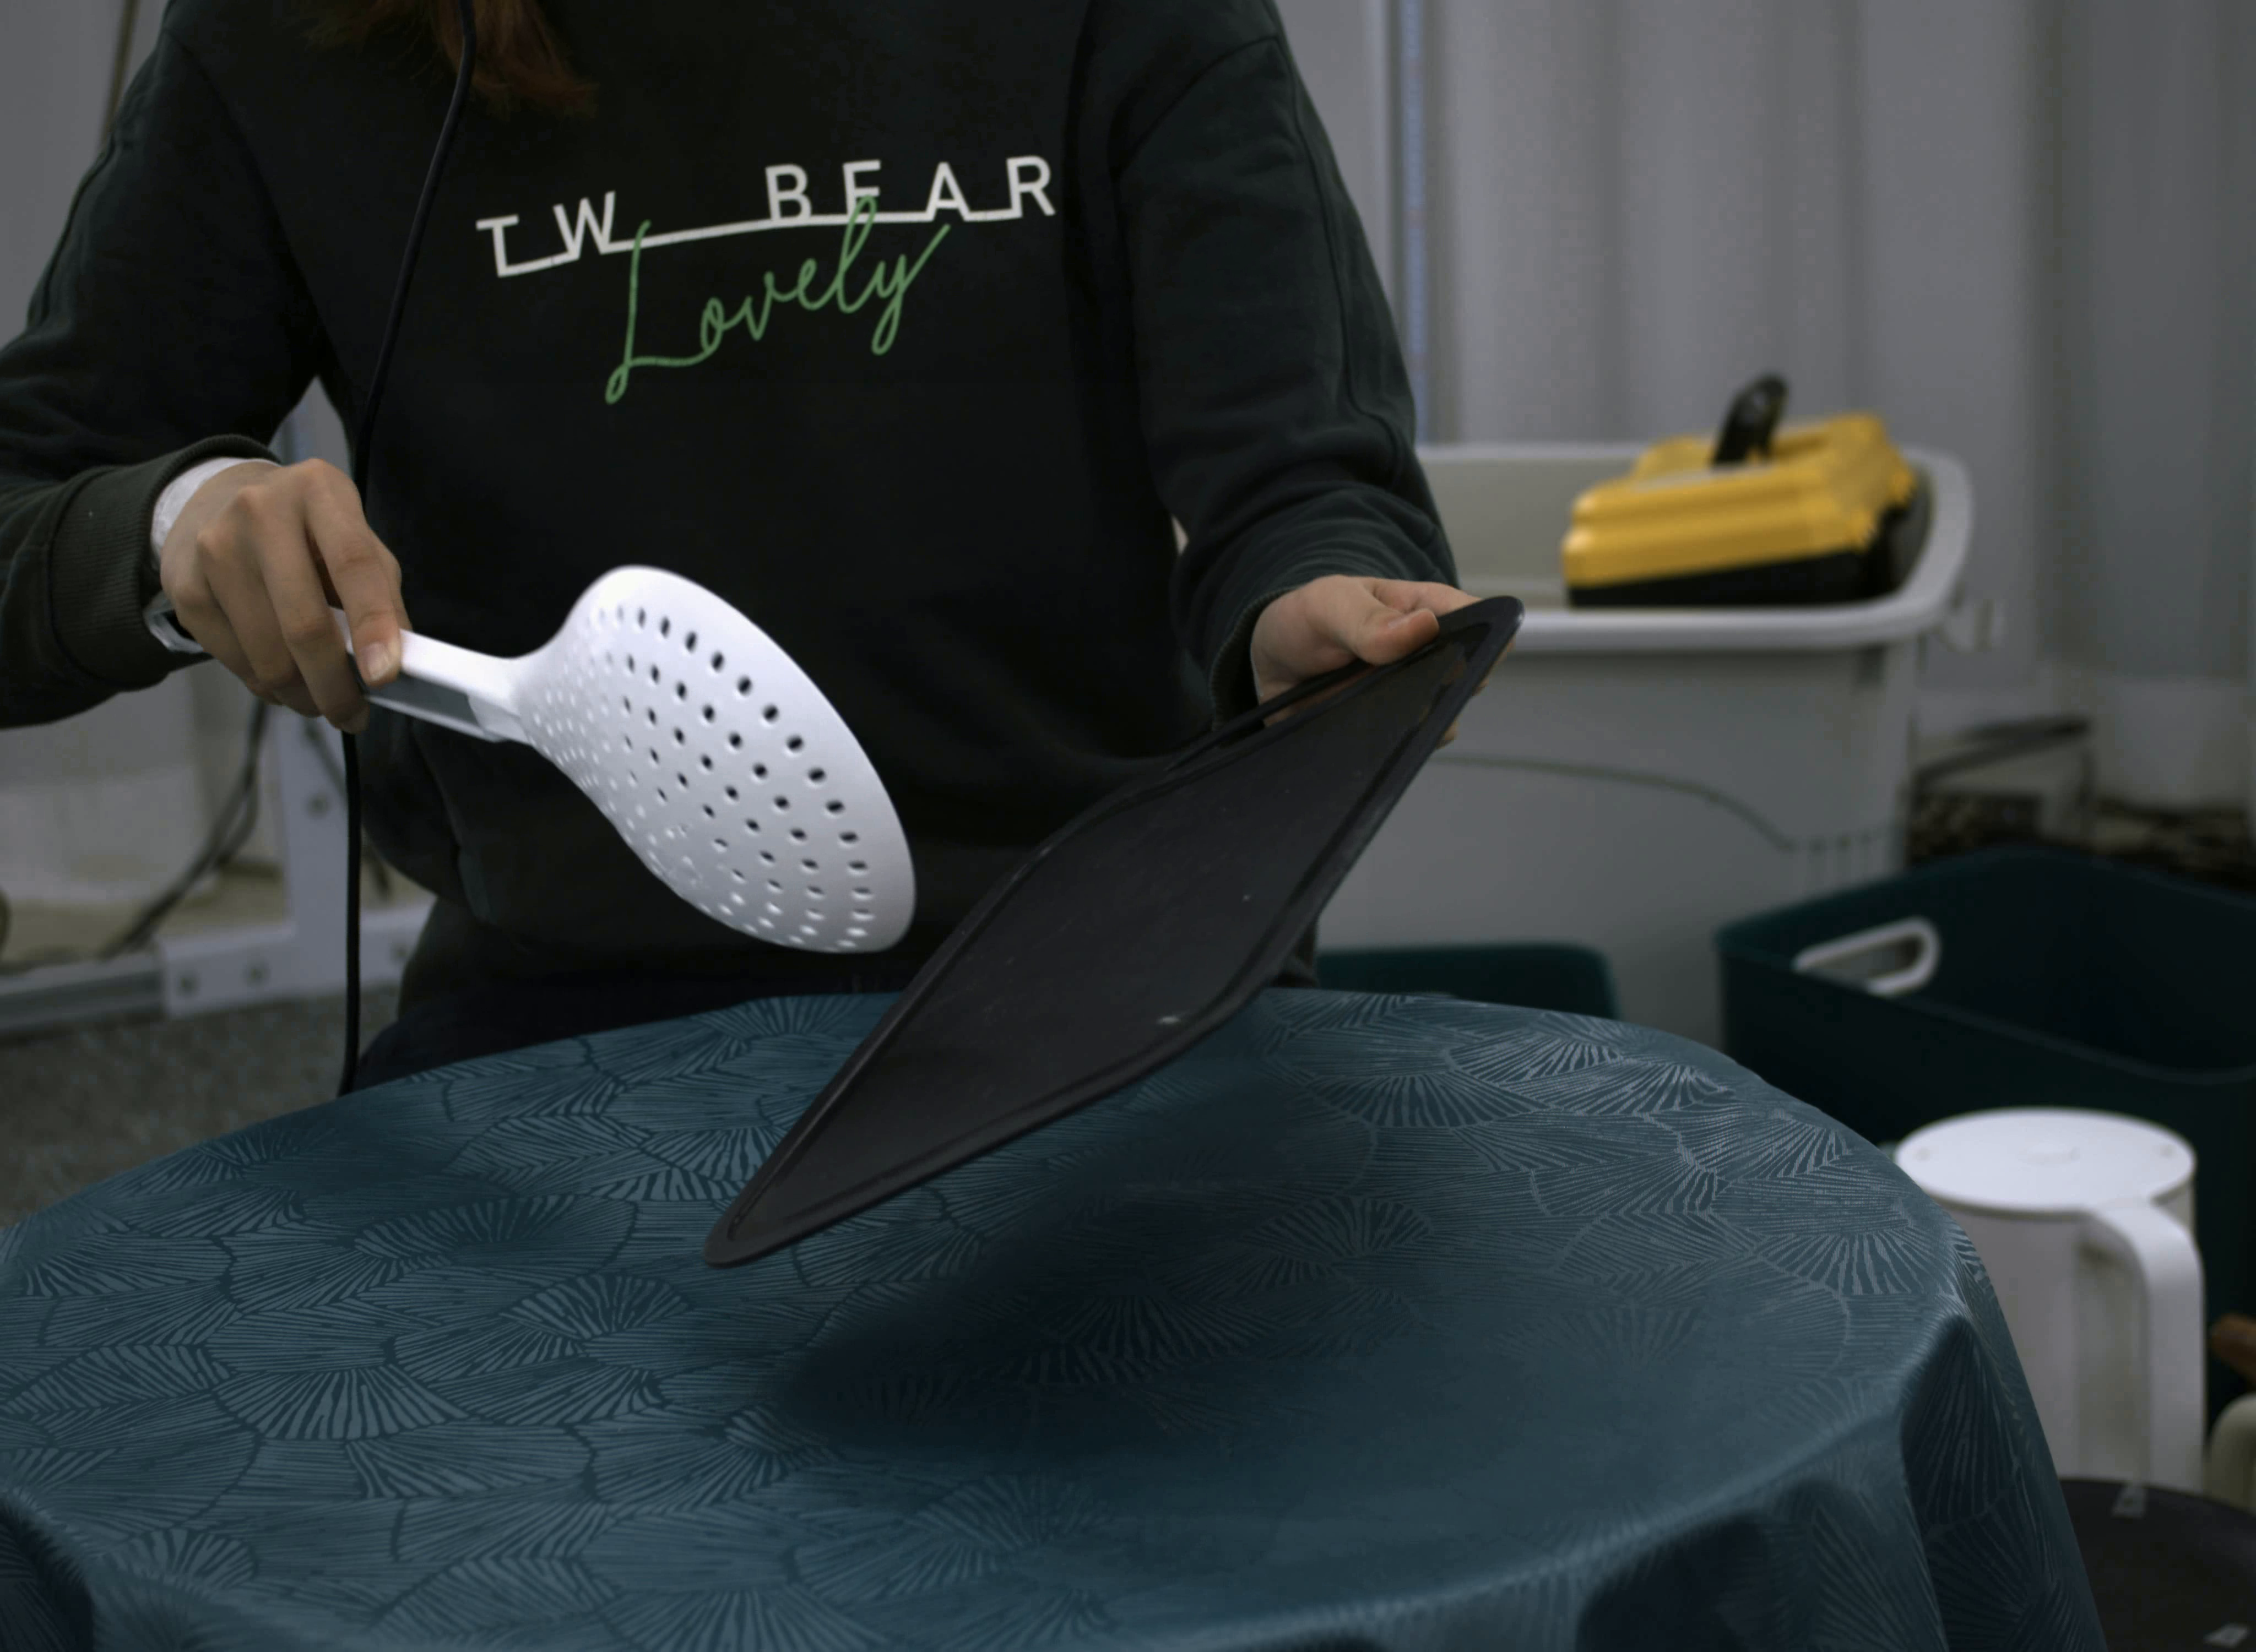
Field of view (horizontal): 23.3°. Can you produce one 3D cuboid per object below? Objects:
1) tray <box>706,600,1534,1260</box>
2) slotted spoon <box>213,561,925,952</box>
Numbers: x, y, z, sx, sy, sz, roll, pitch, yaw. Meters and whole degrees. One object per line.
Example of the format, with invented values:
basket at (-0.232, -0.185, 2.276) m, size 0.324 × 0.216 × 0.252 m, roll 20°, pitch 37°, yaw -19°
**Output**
tray at (0.004, 0.022, 1.604) m, size 0.210 × 0.010 × 0.328 m, roll -26°, pitch 14°, yaw 31°
slotted spoon at (-0.183, -0.037, 1.682) m, size 0.046 × 0.134 × 0.352 m, roll -35°, pitch 32°, yaw -24°
